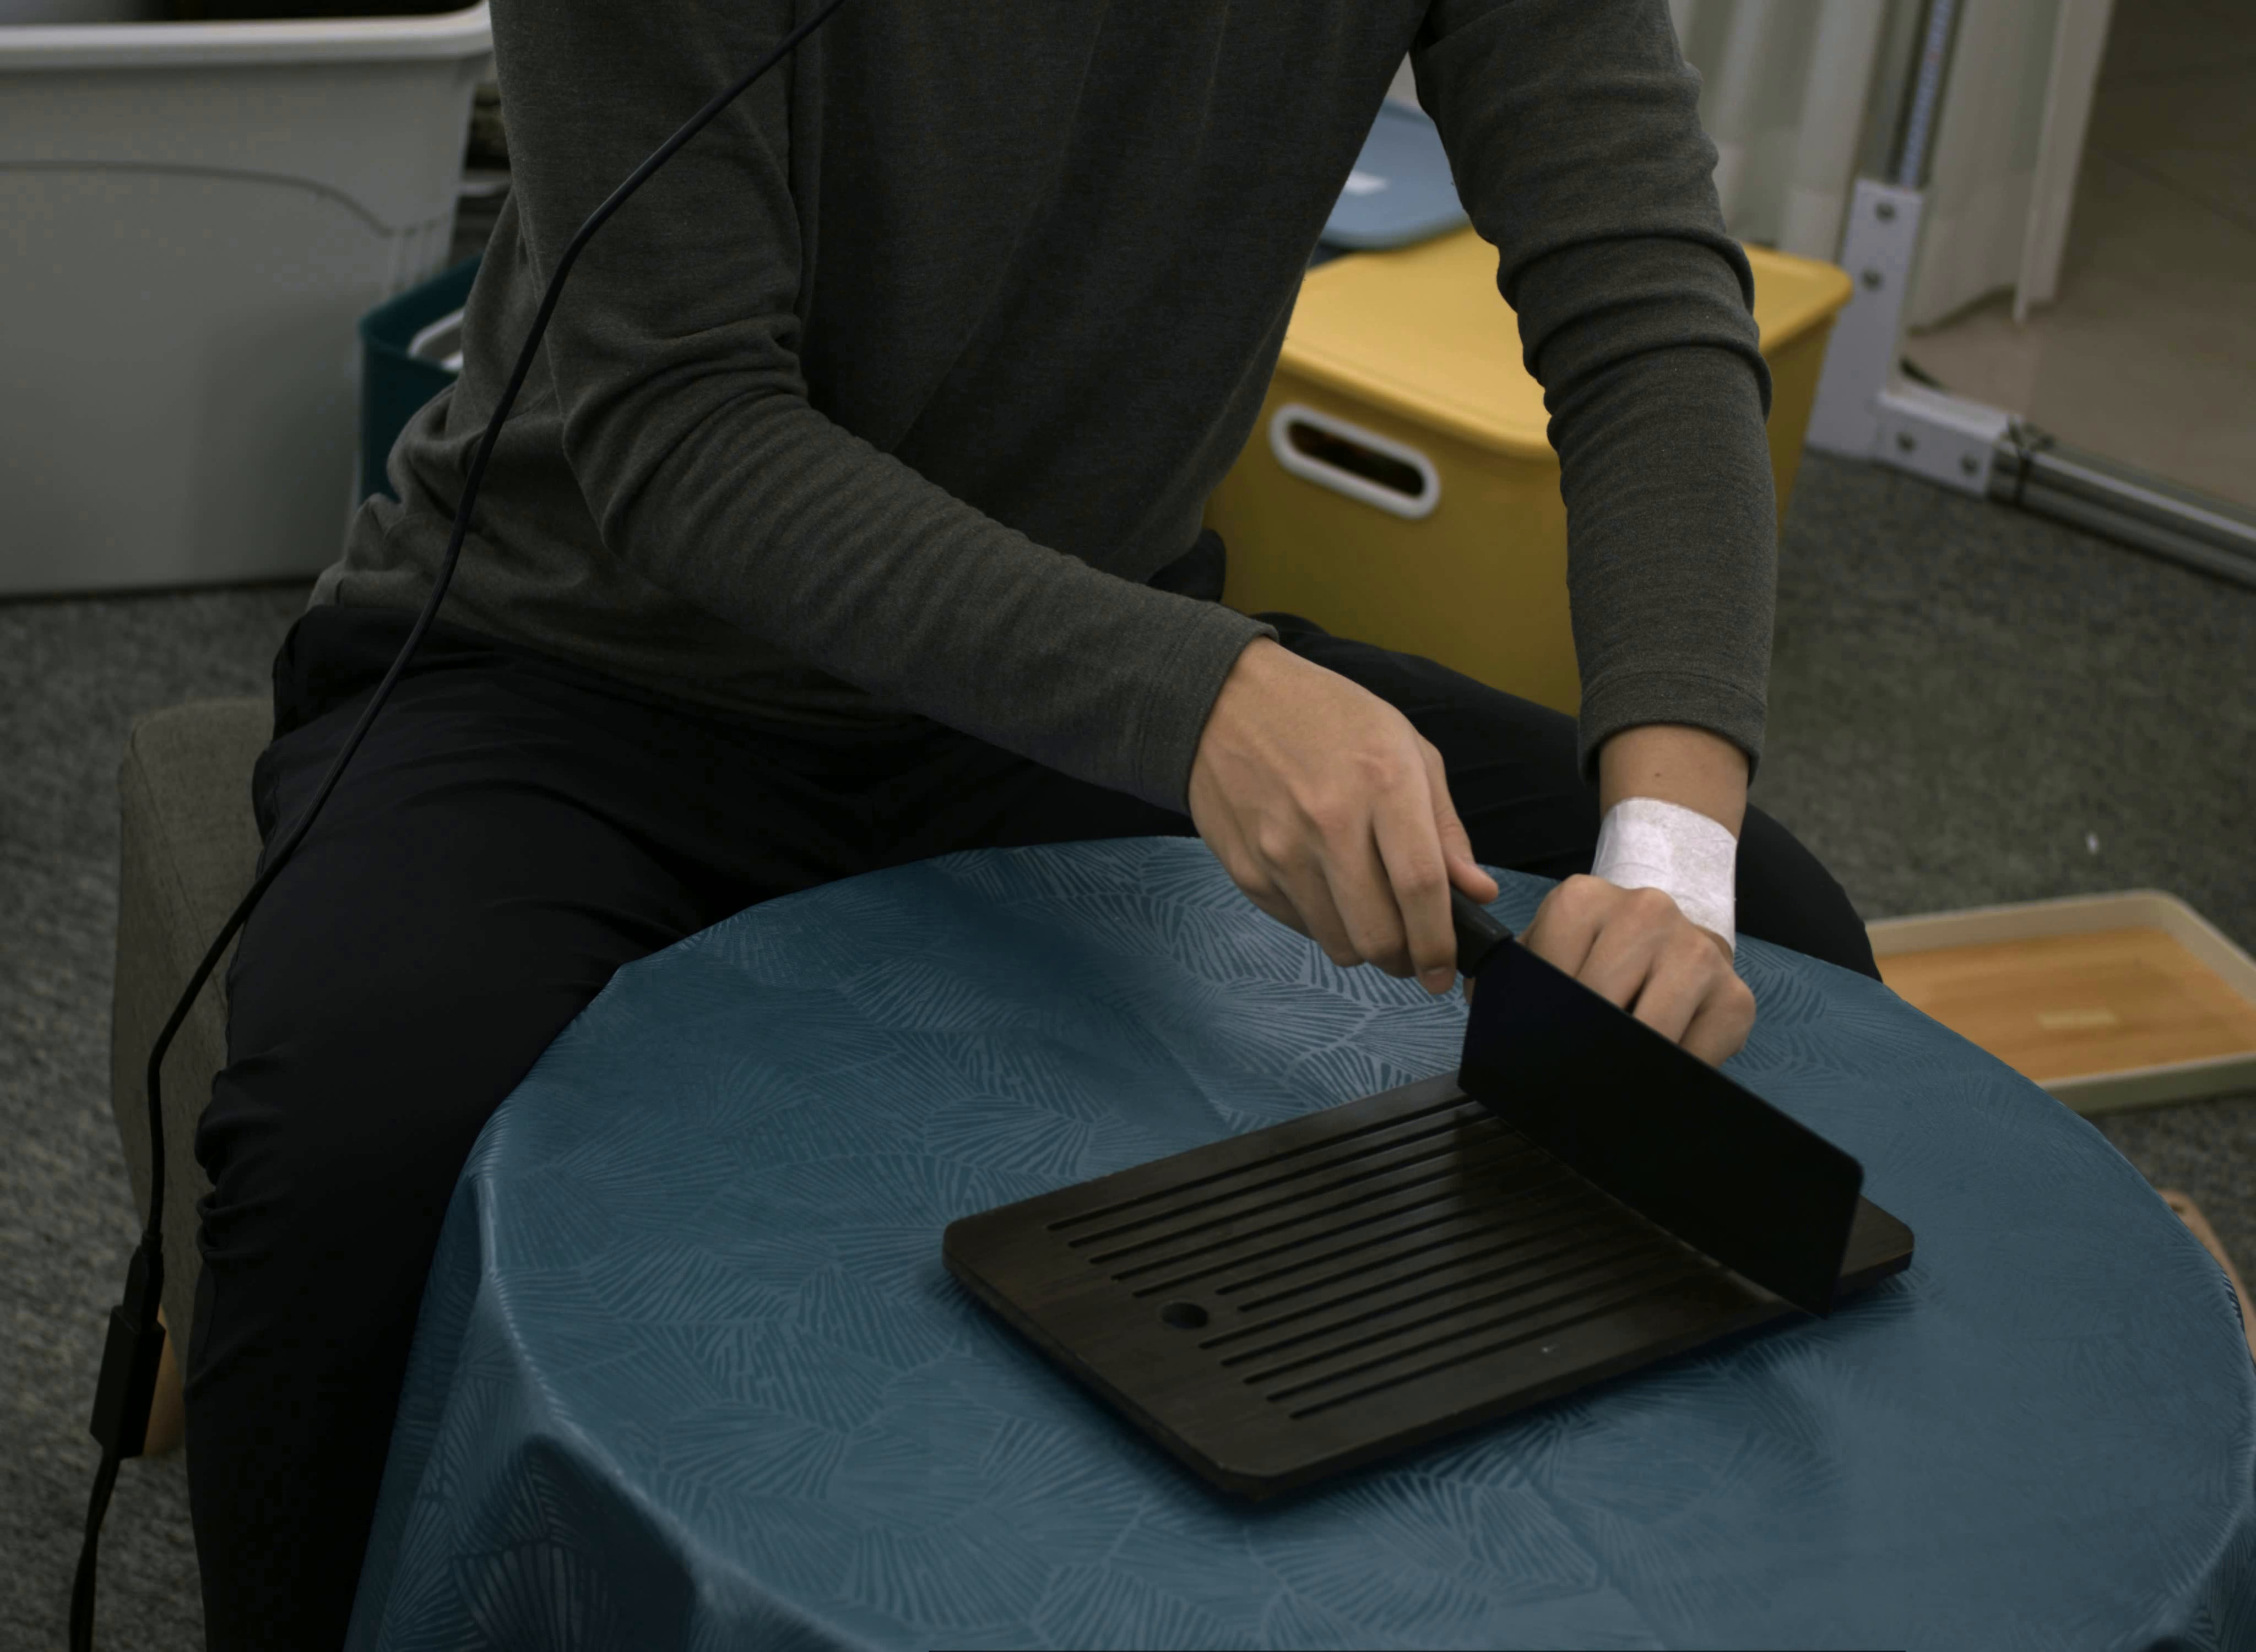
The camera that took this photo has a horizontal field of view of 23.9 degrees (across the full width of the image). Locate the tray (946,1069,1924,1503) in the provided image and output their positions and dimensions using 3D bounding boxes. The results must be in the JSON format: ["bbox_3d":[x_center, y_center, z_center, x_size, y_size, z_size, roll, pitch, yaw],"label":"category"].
[{"bbox_3d":[0.104,0.144,1.768,0.304,0.018,0.171,-14,32,-35],"label":"tray"}]

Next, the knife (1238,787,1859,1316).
[{"bbox_3d":[0.138,0.070,1.818,0.021,0.080,0.305,-12,37,-38],"label":"knife"}]
